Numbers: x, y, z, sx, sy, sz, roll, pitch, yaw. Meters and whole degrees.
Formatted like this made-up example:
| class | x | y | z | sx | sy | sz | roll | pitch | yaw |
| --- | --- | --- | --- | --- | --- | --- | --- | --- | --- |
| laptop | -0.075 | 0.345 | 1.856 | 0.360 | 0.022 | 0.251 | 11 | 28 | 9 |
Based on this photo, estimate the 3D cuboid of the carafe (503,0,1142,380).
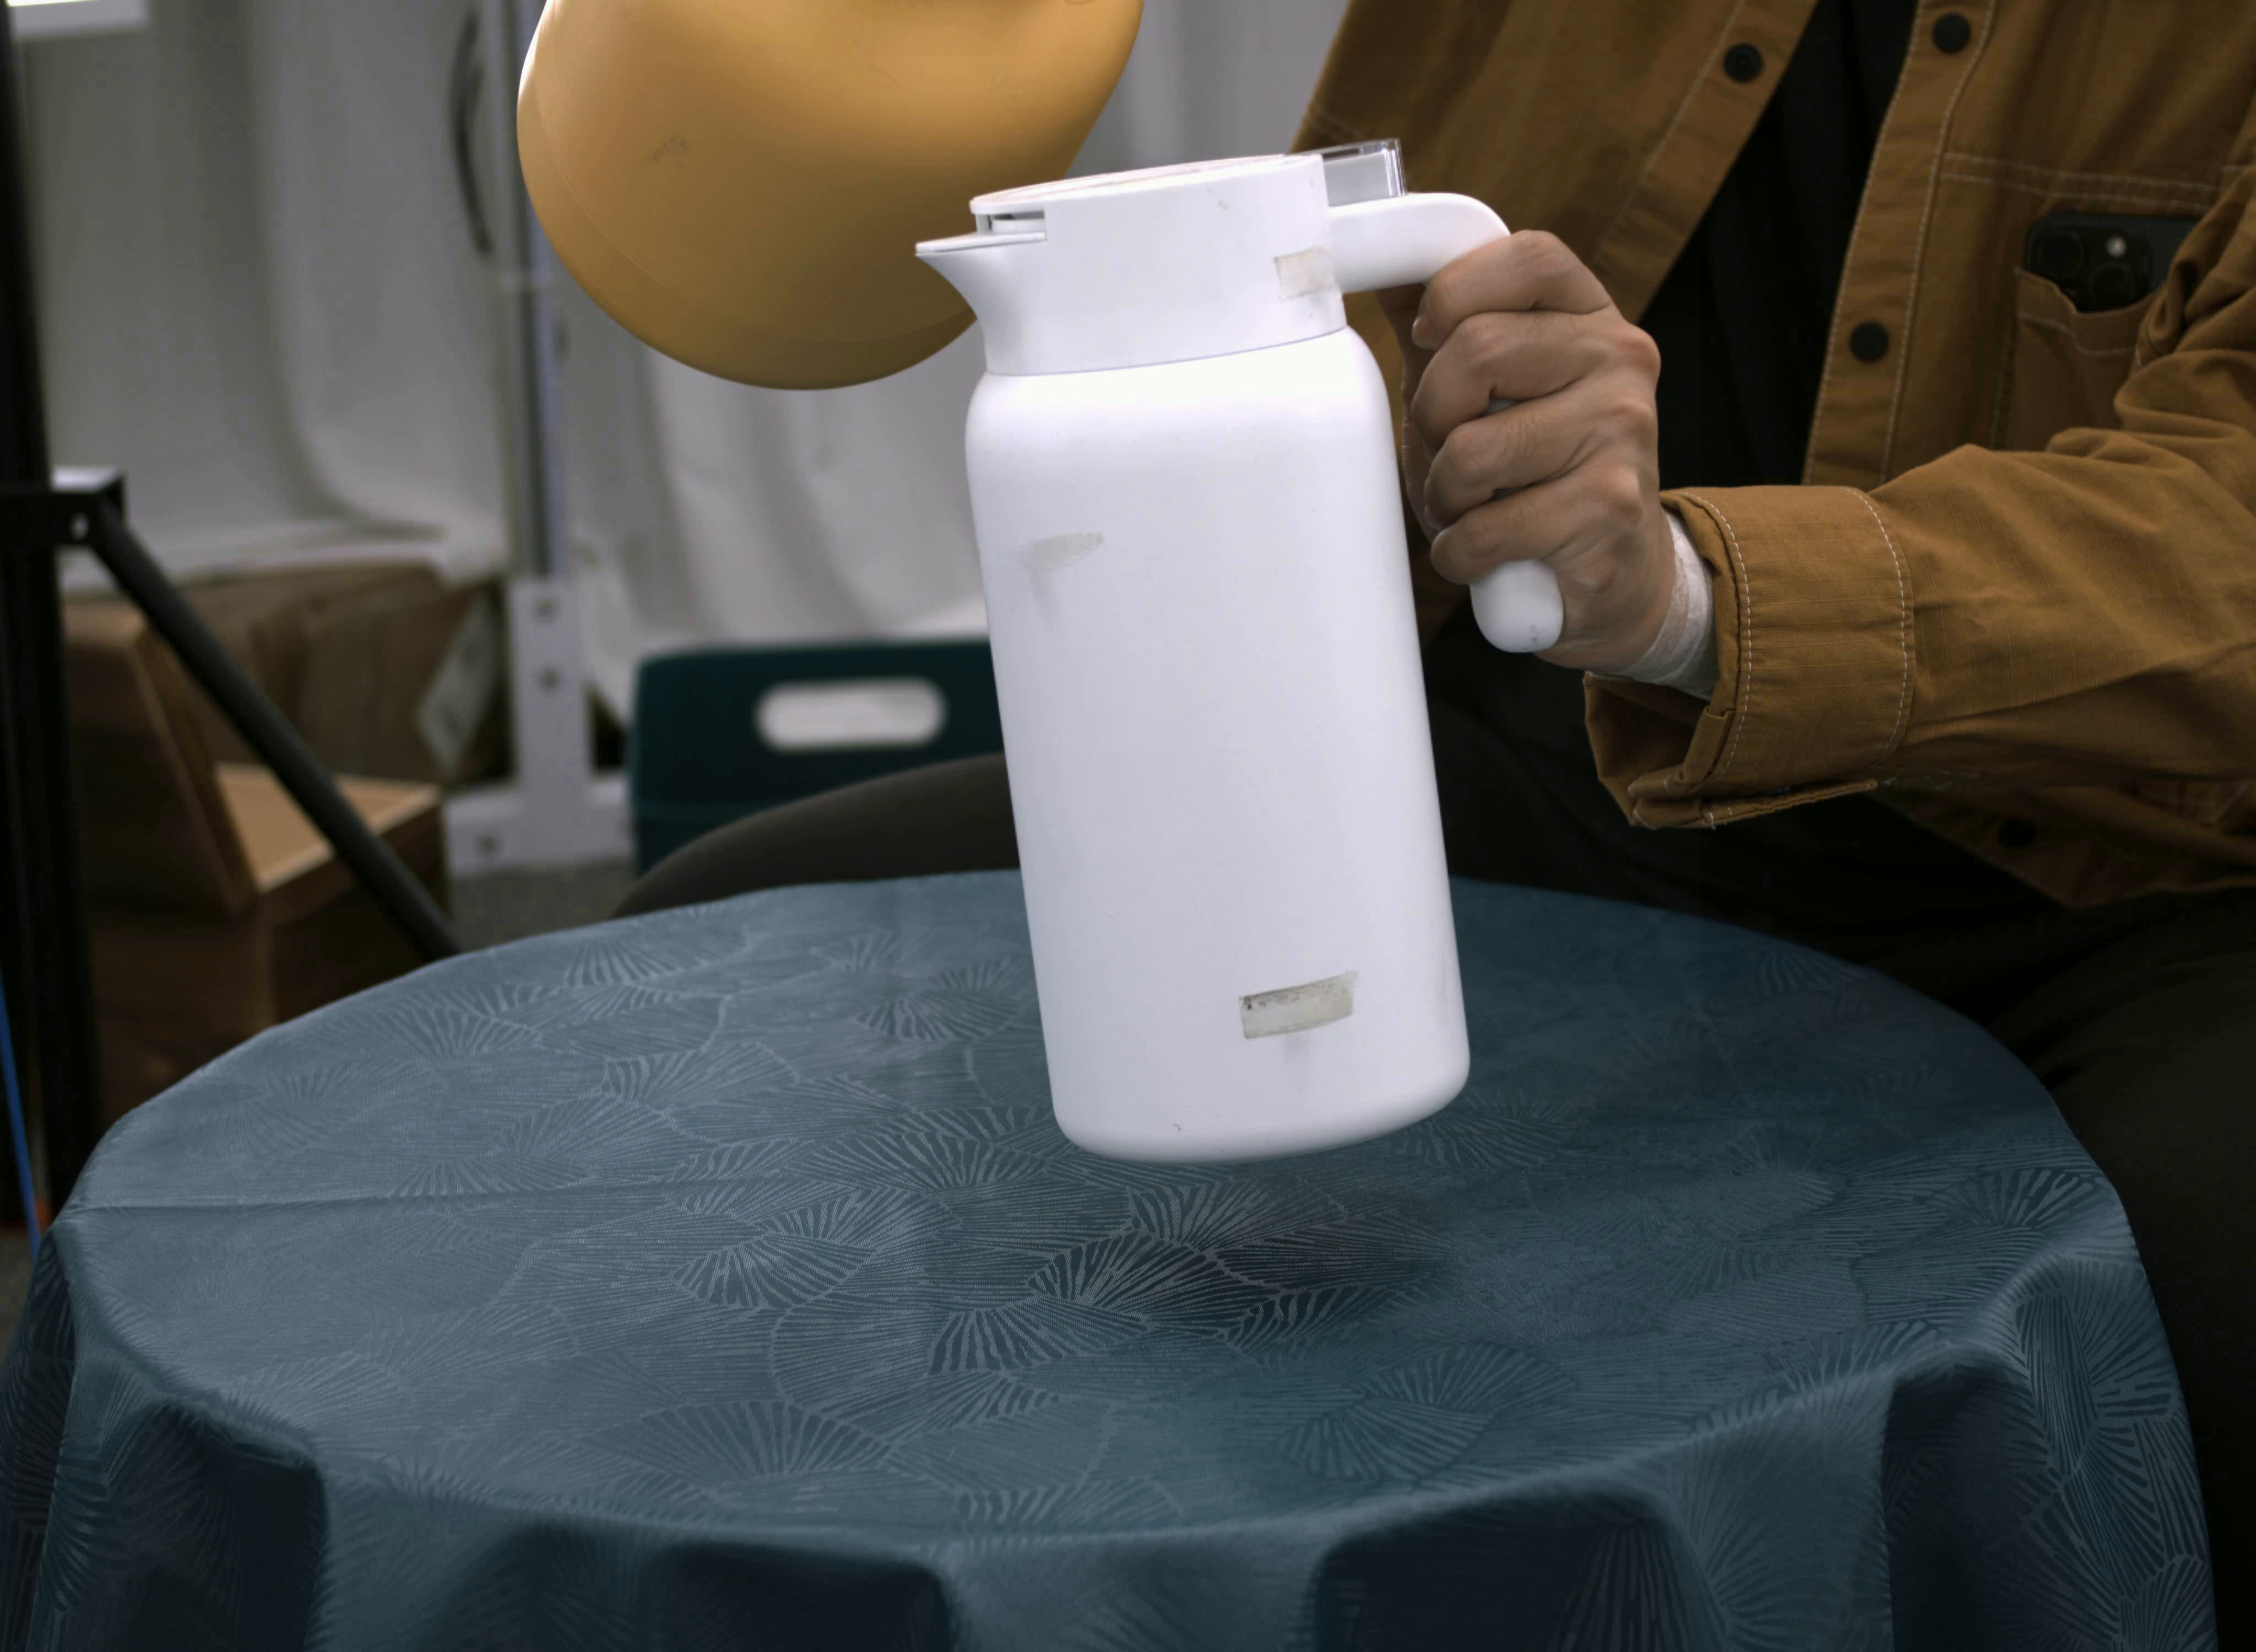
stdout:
| class | x | y | z | sx | sy | sz | roll | pitch | yaw |
| --- | --- | --- | --- | --- | --- | --- | --- | --- | --- |
| carafe | -0.085 | -0.268 | 1.558 | 0.160 | 0.205 | 0.262 | -20 | -15 | -30 |

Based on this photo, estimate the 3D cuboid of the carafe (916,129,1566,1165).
| class | x | y | z | sx | sy | sz | roll | pitch | yaw |
| --- | --- | --- | --- | --- | --- | --- | --- | --- | --- |
| carafe | 0.038 | -0.052 | 1.460 | 0.170 | 0.269 | 0.126 | -10 | 7 | -20 |
